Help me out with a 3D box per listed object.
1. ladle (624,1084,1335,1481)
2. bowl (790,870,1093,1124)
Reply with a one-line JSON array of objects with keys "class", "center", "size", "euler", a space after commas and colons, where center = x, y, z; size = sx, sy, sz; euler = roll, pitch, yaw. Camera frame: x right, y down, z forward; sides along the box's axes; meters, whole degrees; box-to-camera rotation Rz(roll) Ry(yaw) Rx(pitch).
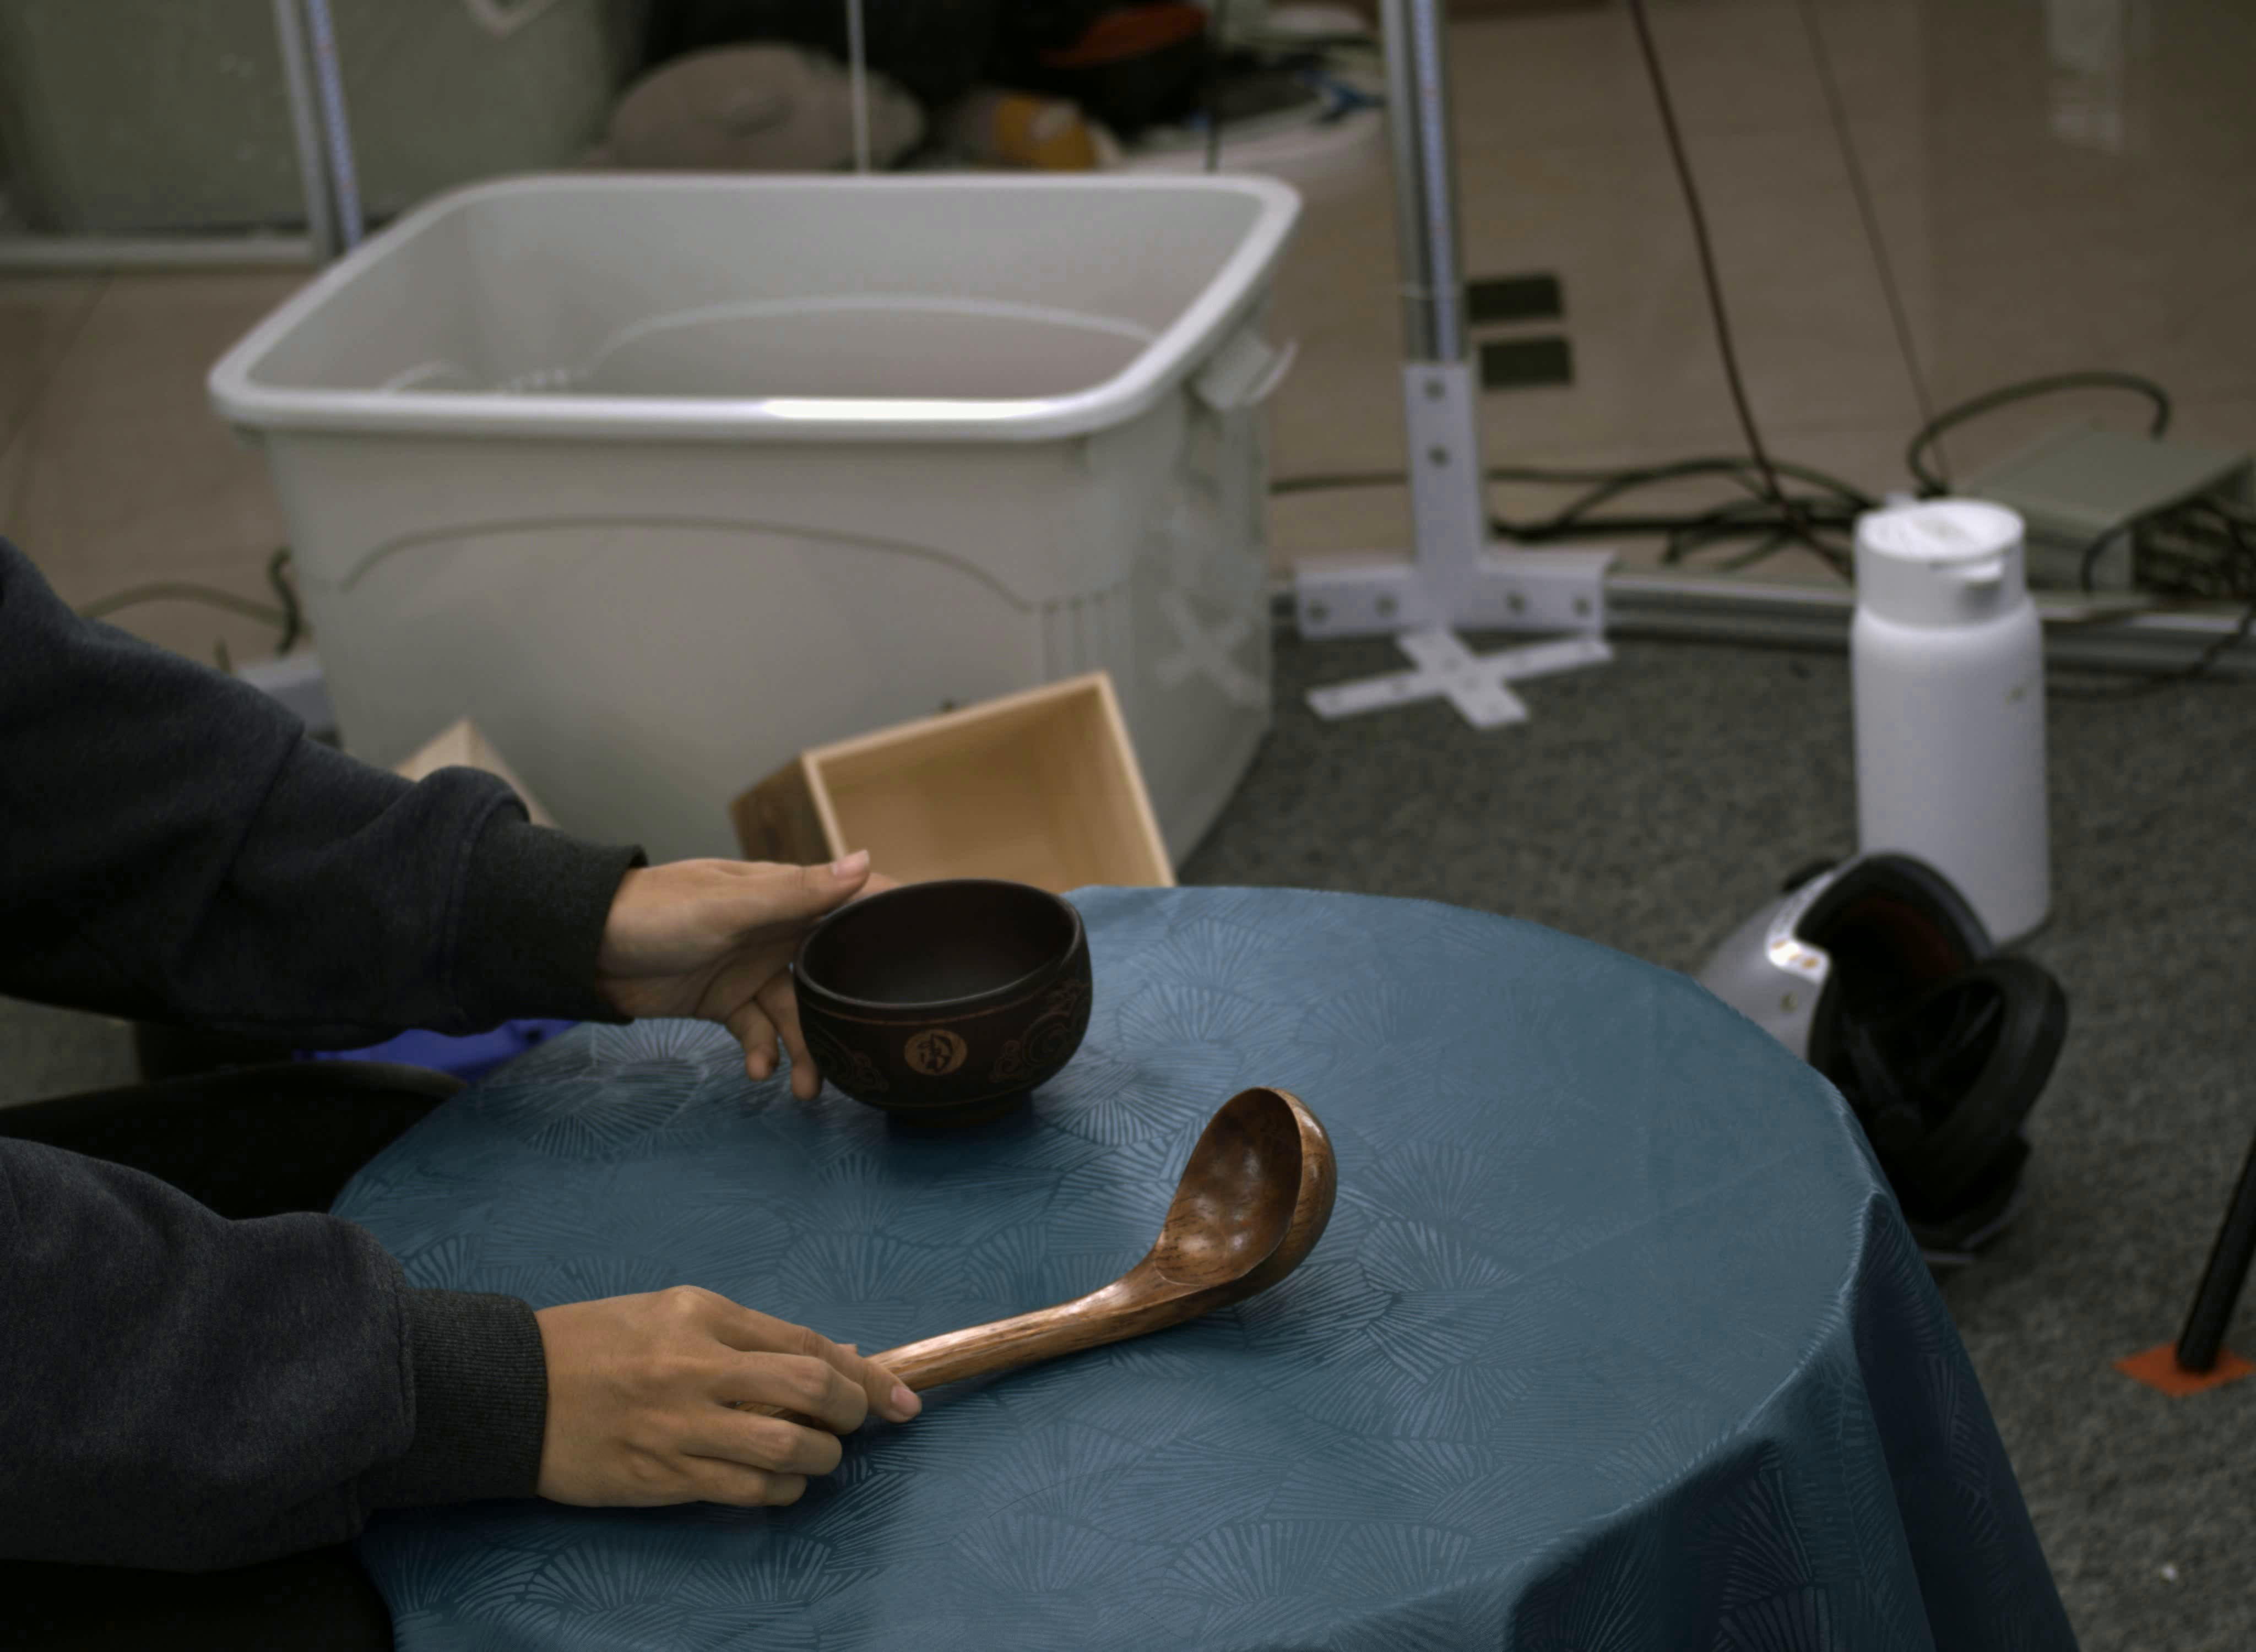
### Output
[{"class": "ladle", "center": [-0.053, 0.160, 2.018], "size": [0.273, 0.077, 0.081], "euler": [-15, 21, -18]}, {"class": "bowl", "center": [-0.071, 0.073, 2.217], "size": [0.118, 0.071, 0.116], "euler": [-5, 26, 2]}]
